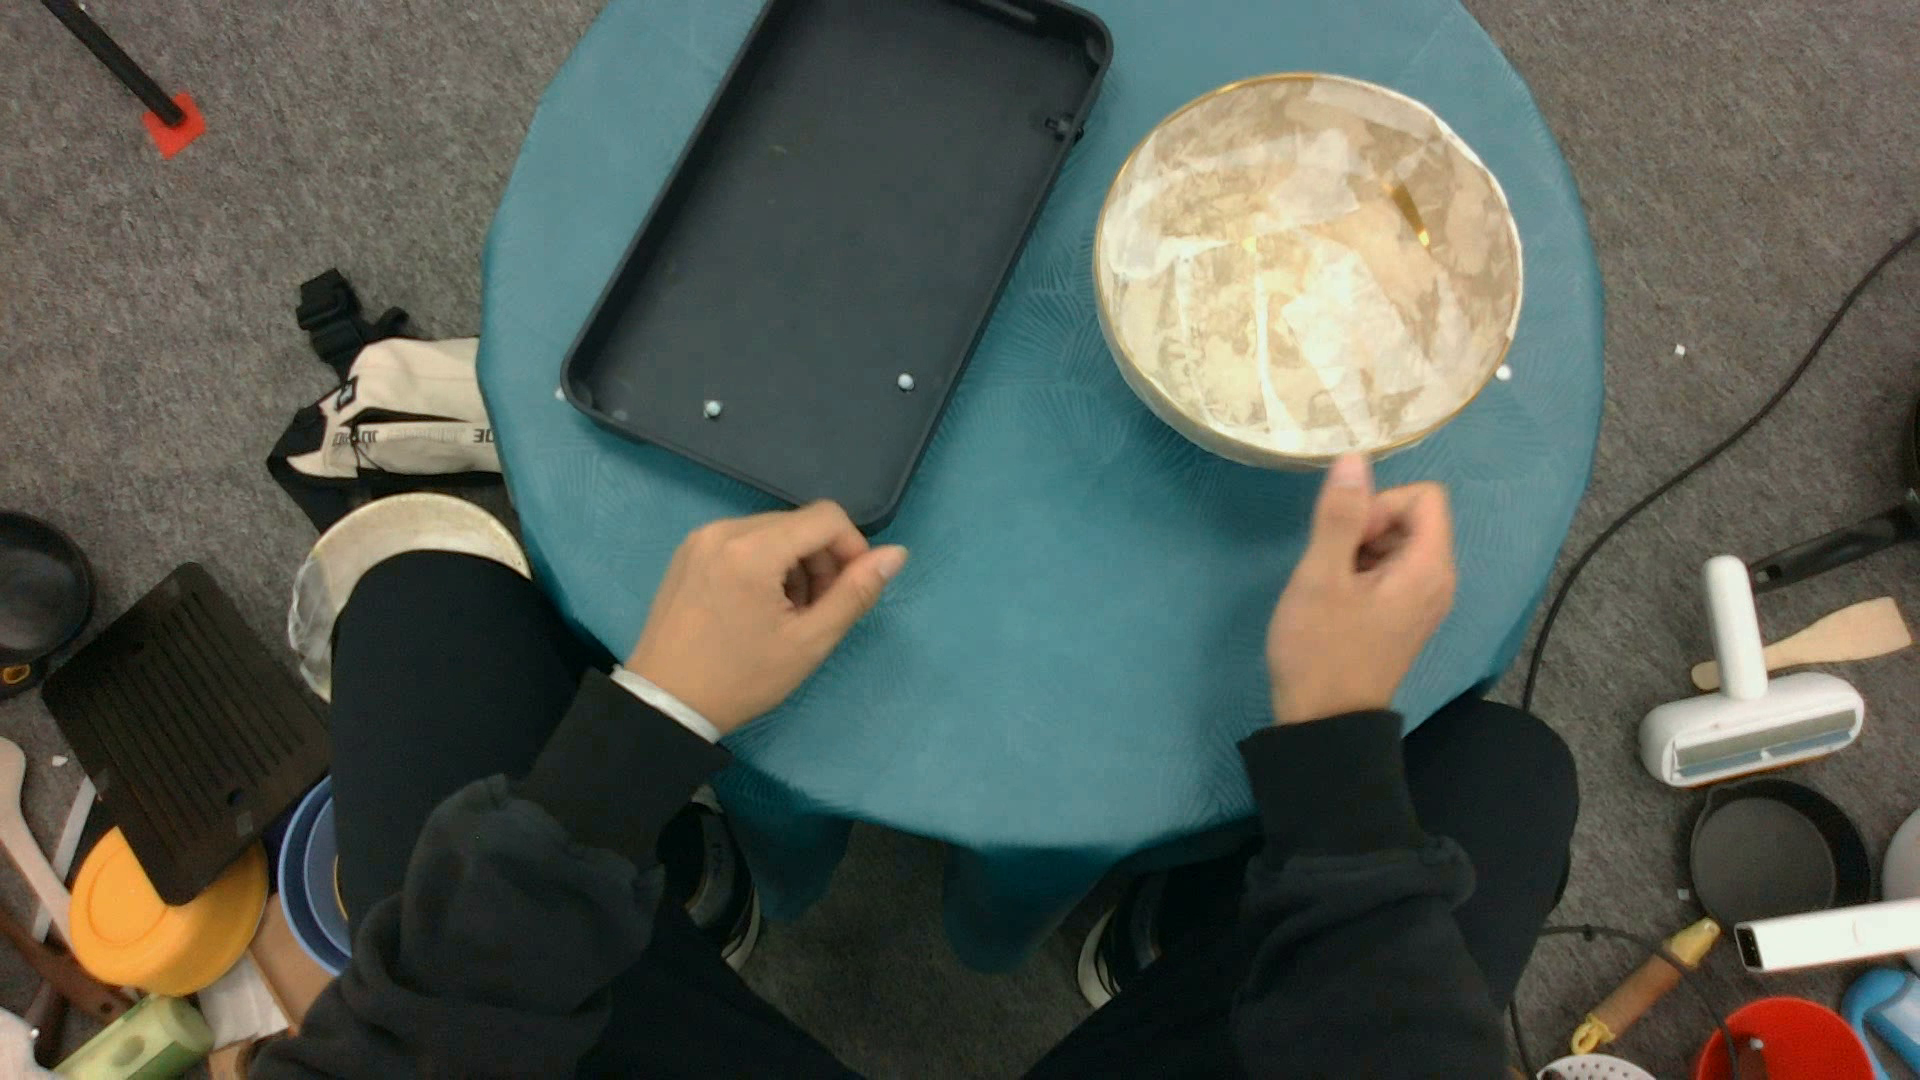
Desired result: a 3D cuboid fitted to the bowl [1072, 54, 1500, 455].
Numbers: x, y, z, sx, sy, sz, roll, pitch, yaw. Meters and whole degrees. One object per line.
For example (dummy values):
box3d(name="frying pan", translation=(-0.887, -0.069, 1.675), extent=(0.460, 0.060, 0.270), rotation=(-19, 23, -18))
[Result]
box3d(name="bowl", translation=(0.151, -0.130, 0.693), extent=(0.215, 0.094, 0.215), rotation=(1, 76, -3))

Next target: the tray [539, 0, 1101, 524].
box3d(name="tray", translation=(-0.067, -0.177, 0.730), extent=(0.184, 0.037, 0.319), rotation=(25, 74, 5))
